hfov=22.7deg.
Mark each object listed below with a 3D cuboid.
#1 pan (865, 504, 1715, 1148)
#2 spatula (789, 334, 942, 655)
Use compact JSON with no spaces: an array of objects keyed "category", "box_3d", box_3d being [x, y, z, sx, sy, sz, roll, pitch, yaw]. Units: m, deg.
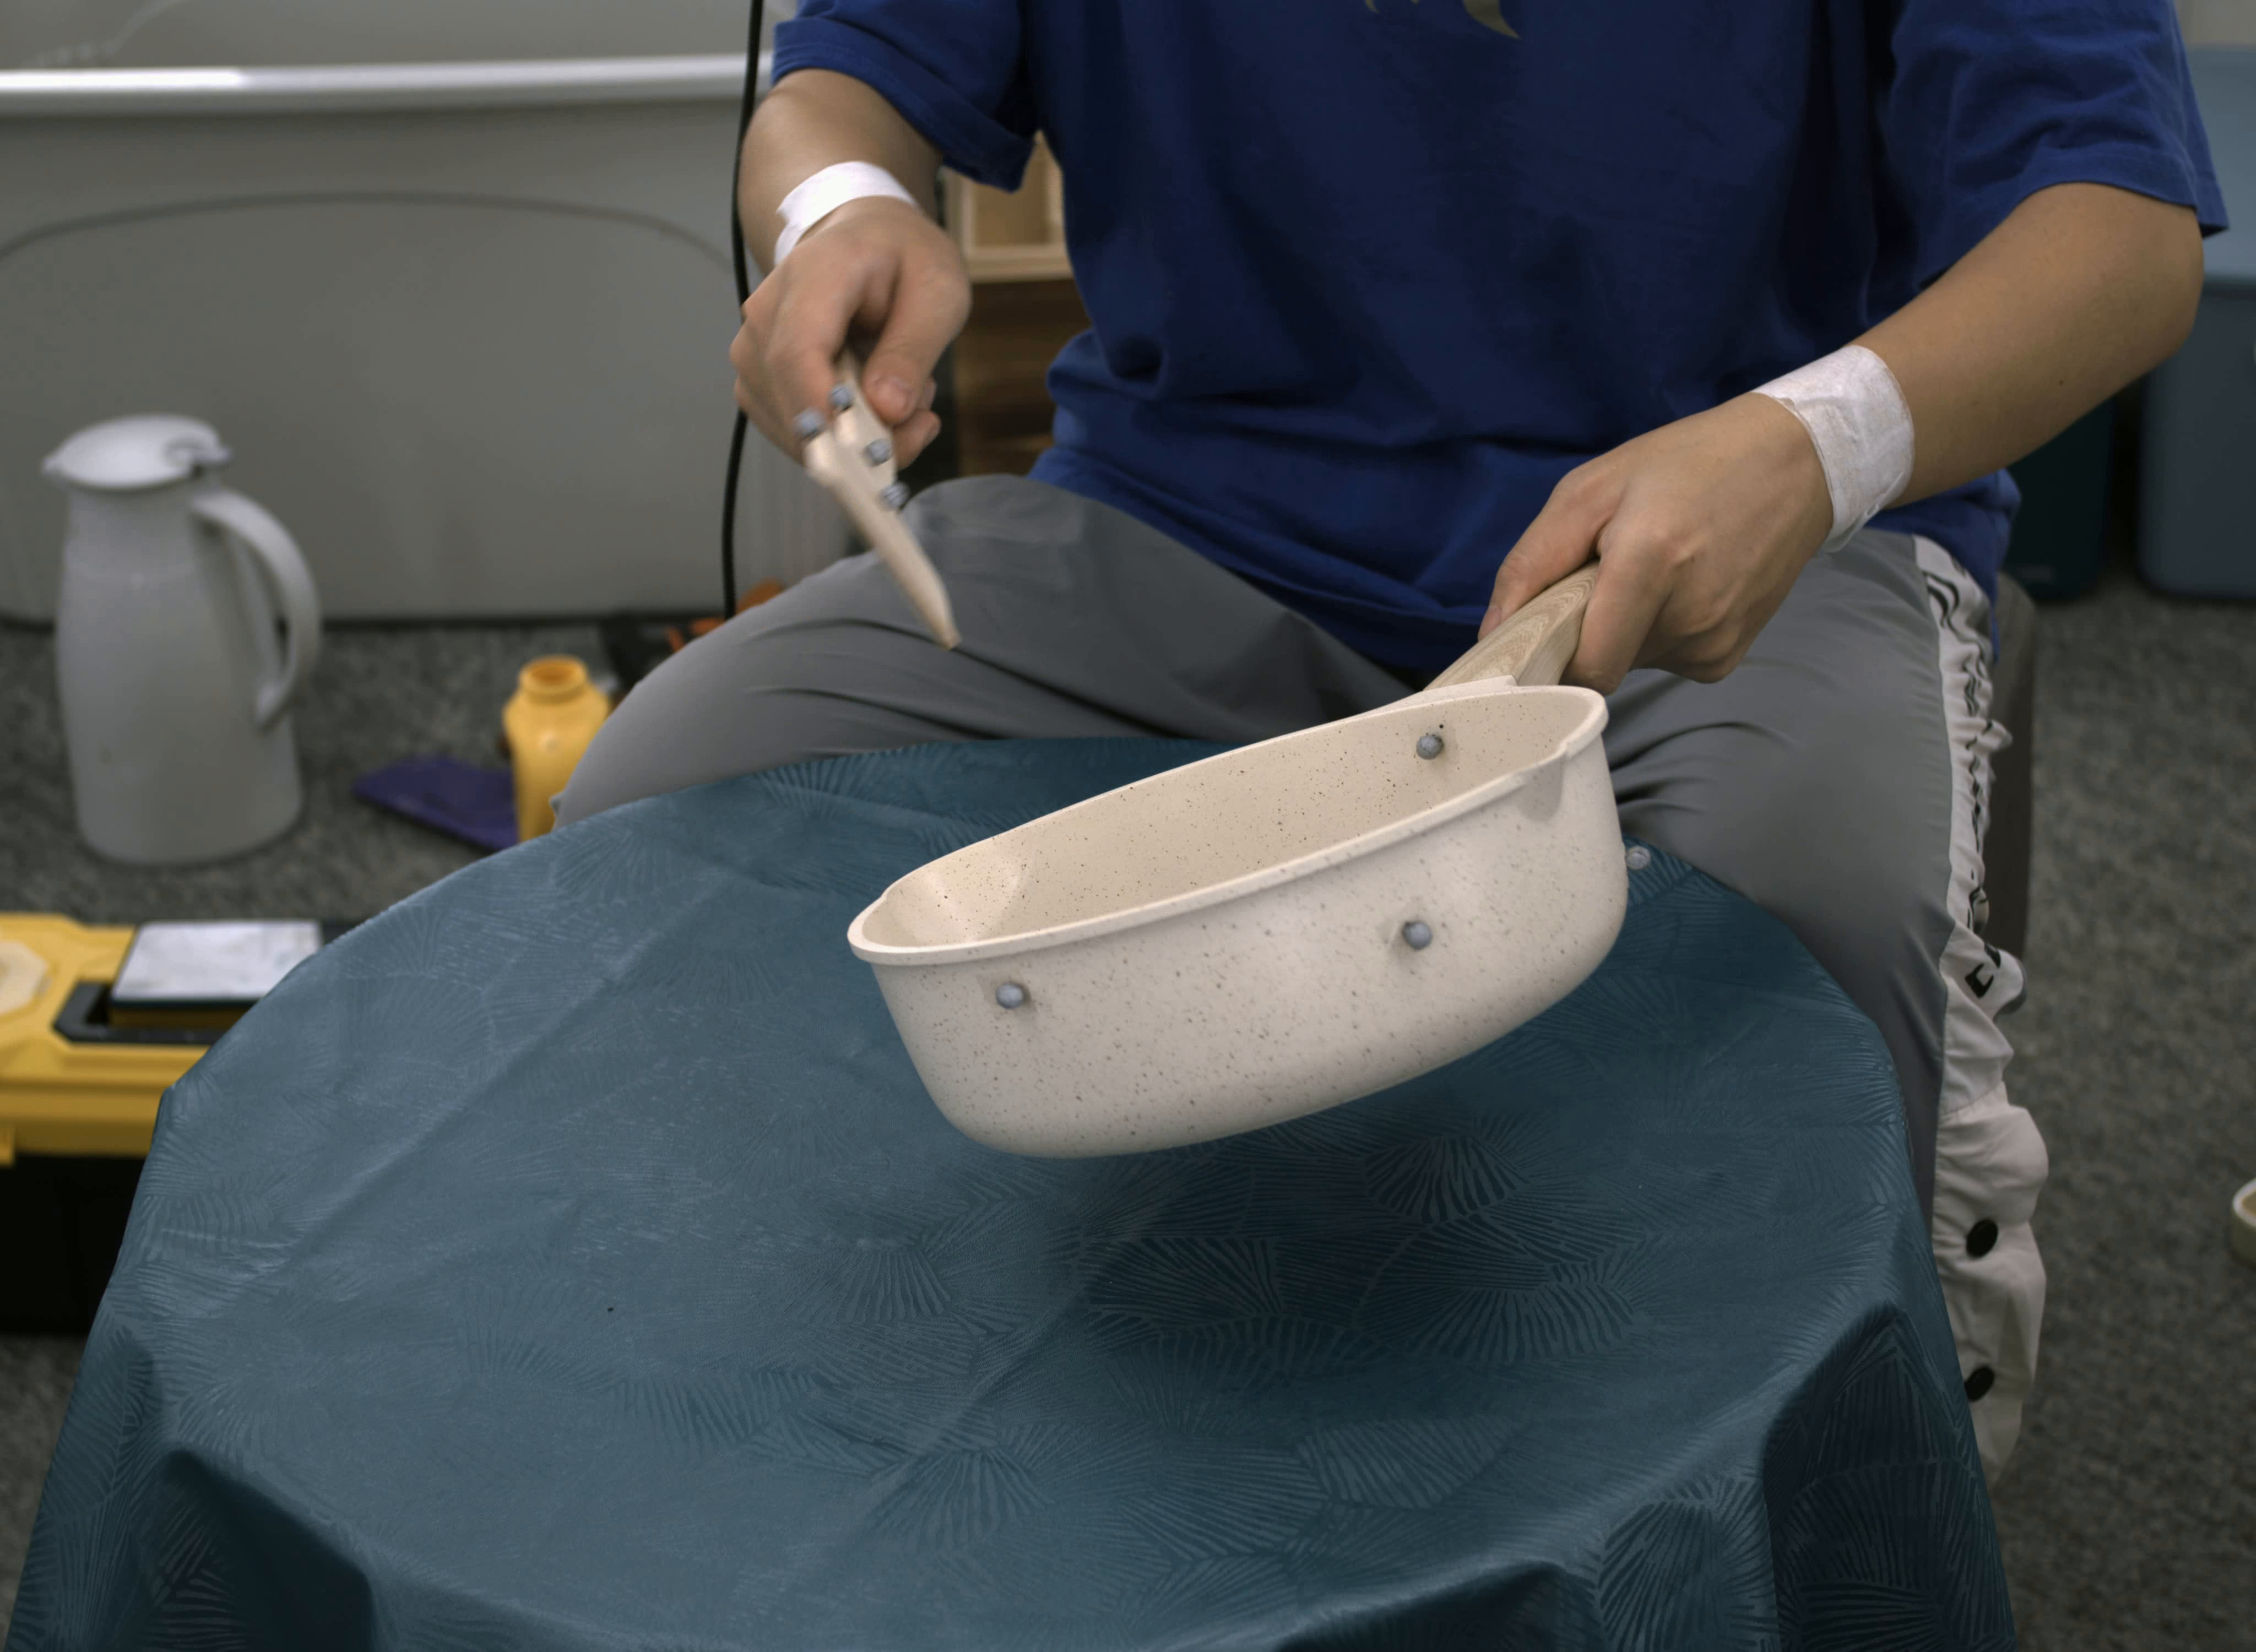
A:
[{"category":"pan","box_3d":[0.096,-0.004,1.853,0.260,0.102,0.440,-13,9,38]},{"category":"spatula","box_3d":[-0.090,-0.124,1.899,0.010,0.072,0.296,-37,16,9]}]
